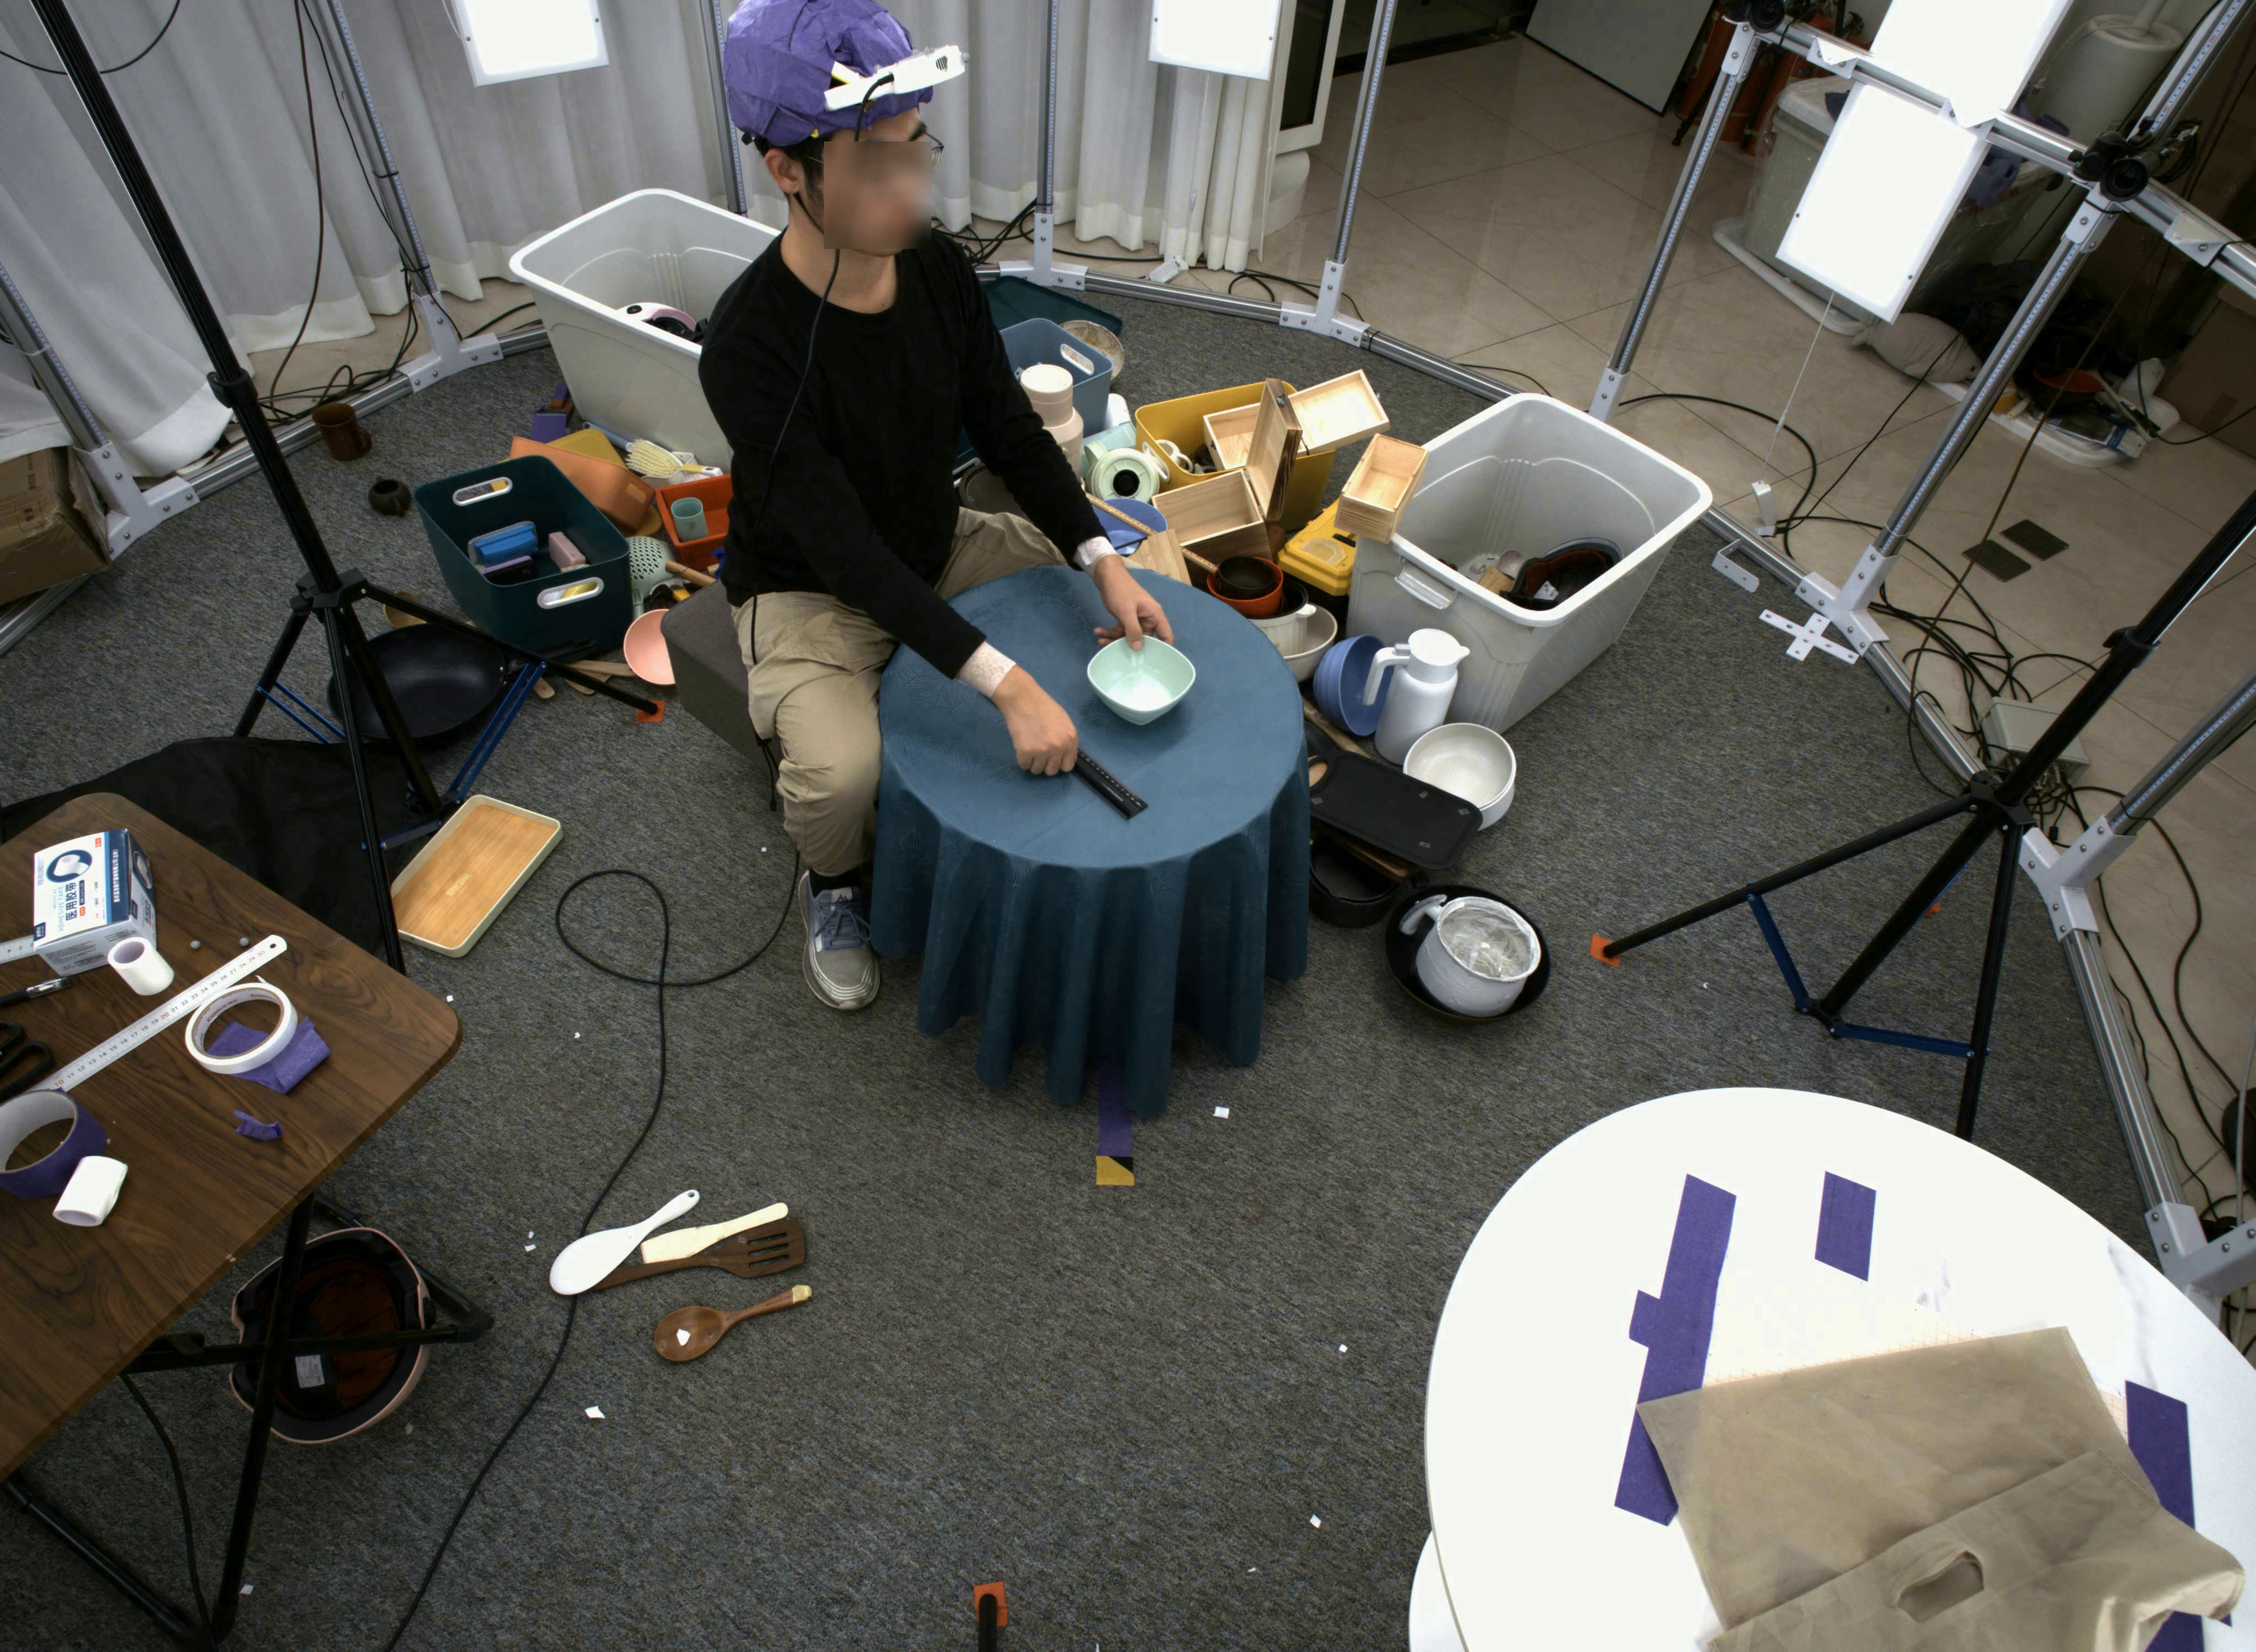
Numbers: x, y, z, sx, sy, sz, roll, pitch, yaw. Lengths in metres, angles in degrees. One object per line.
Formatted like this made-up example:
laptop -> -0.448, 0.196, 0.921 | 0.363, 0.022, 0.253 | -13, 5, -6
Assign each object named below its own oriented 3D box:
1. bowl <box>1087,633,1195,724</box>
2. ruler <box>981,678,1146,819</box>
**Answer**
bowl -> 0.017, -0.199, 1.807 | 0.151, 0.057, 0.155 | 3, 51, -3
ruler -> -0.091, -0.115, 1.753 | 0.039, 0.017, 0.318 | -30, 57, -30
